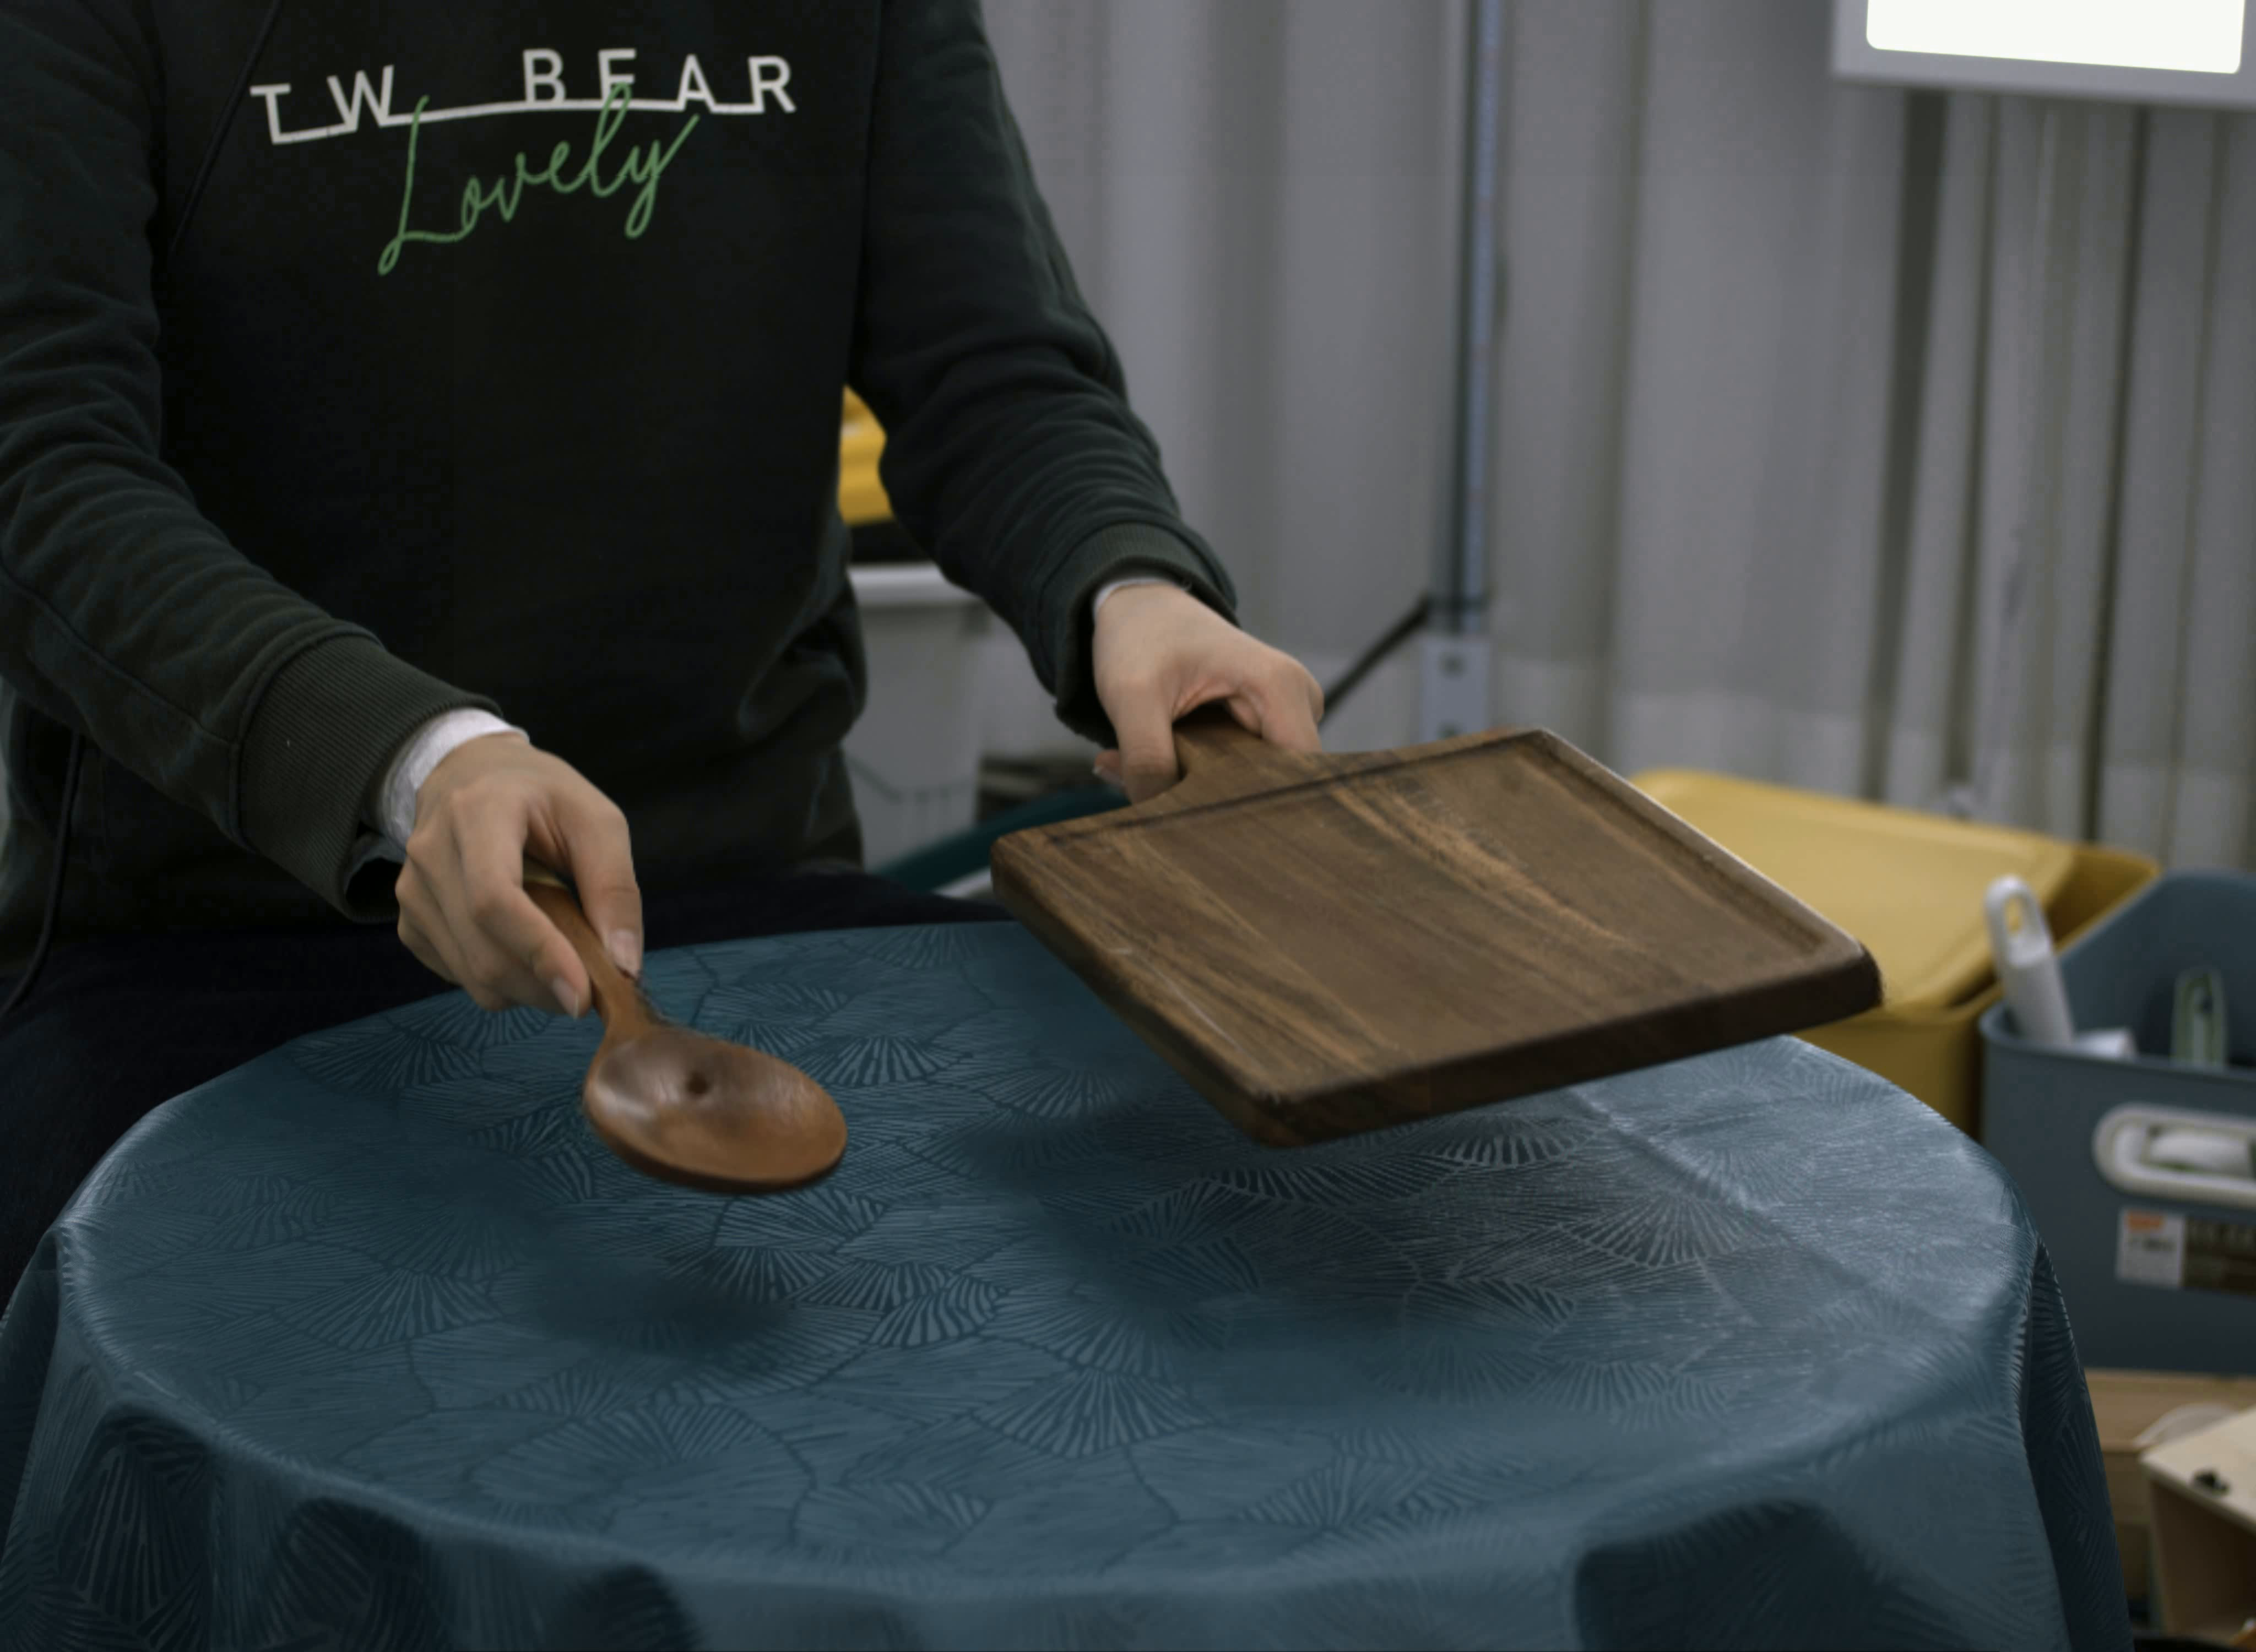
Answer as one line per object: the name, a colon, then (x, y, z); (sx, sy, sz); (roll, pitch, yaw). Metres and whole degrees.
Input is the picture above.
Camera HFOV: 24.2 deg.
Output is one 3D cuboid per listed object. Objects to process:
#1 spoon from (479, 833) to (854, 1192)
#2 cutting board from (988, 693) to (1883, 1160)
spoon: (-0.147, 0.056, 1.564); (0.076, 0.017, 0.213); (-6, 30, -27)
cutting board: (0.071, 0.015, 1.655); (0.201, 0.023, 0.348); (-13, 21, -17)
